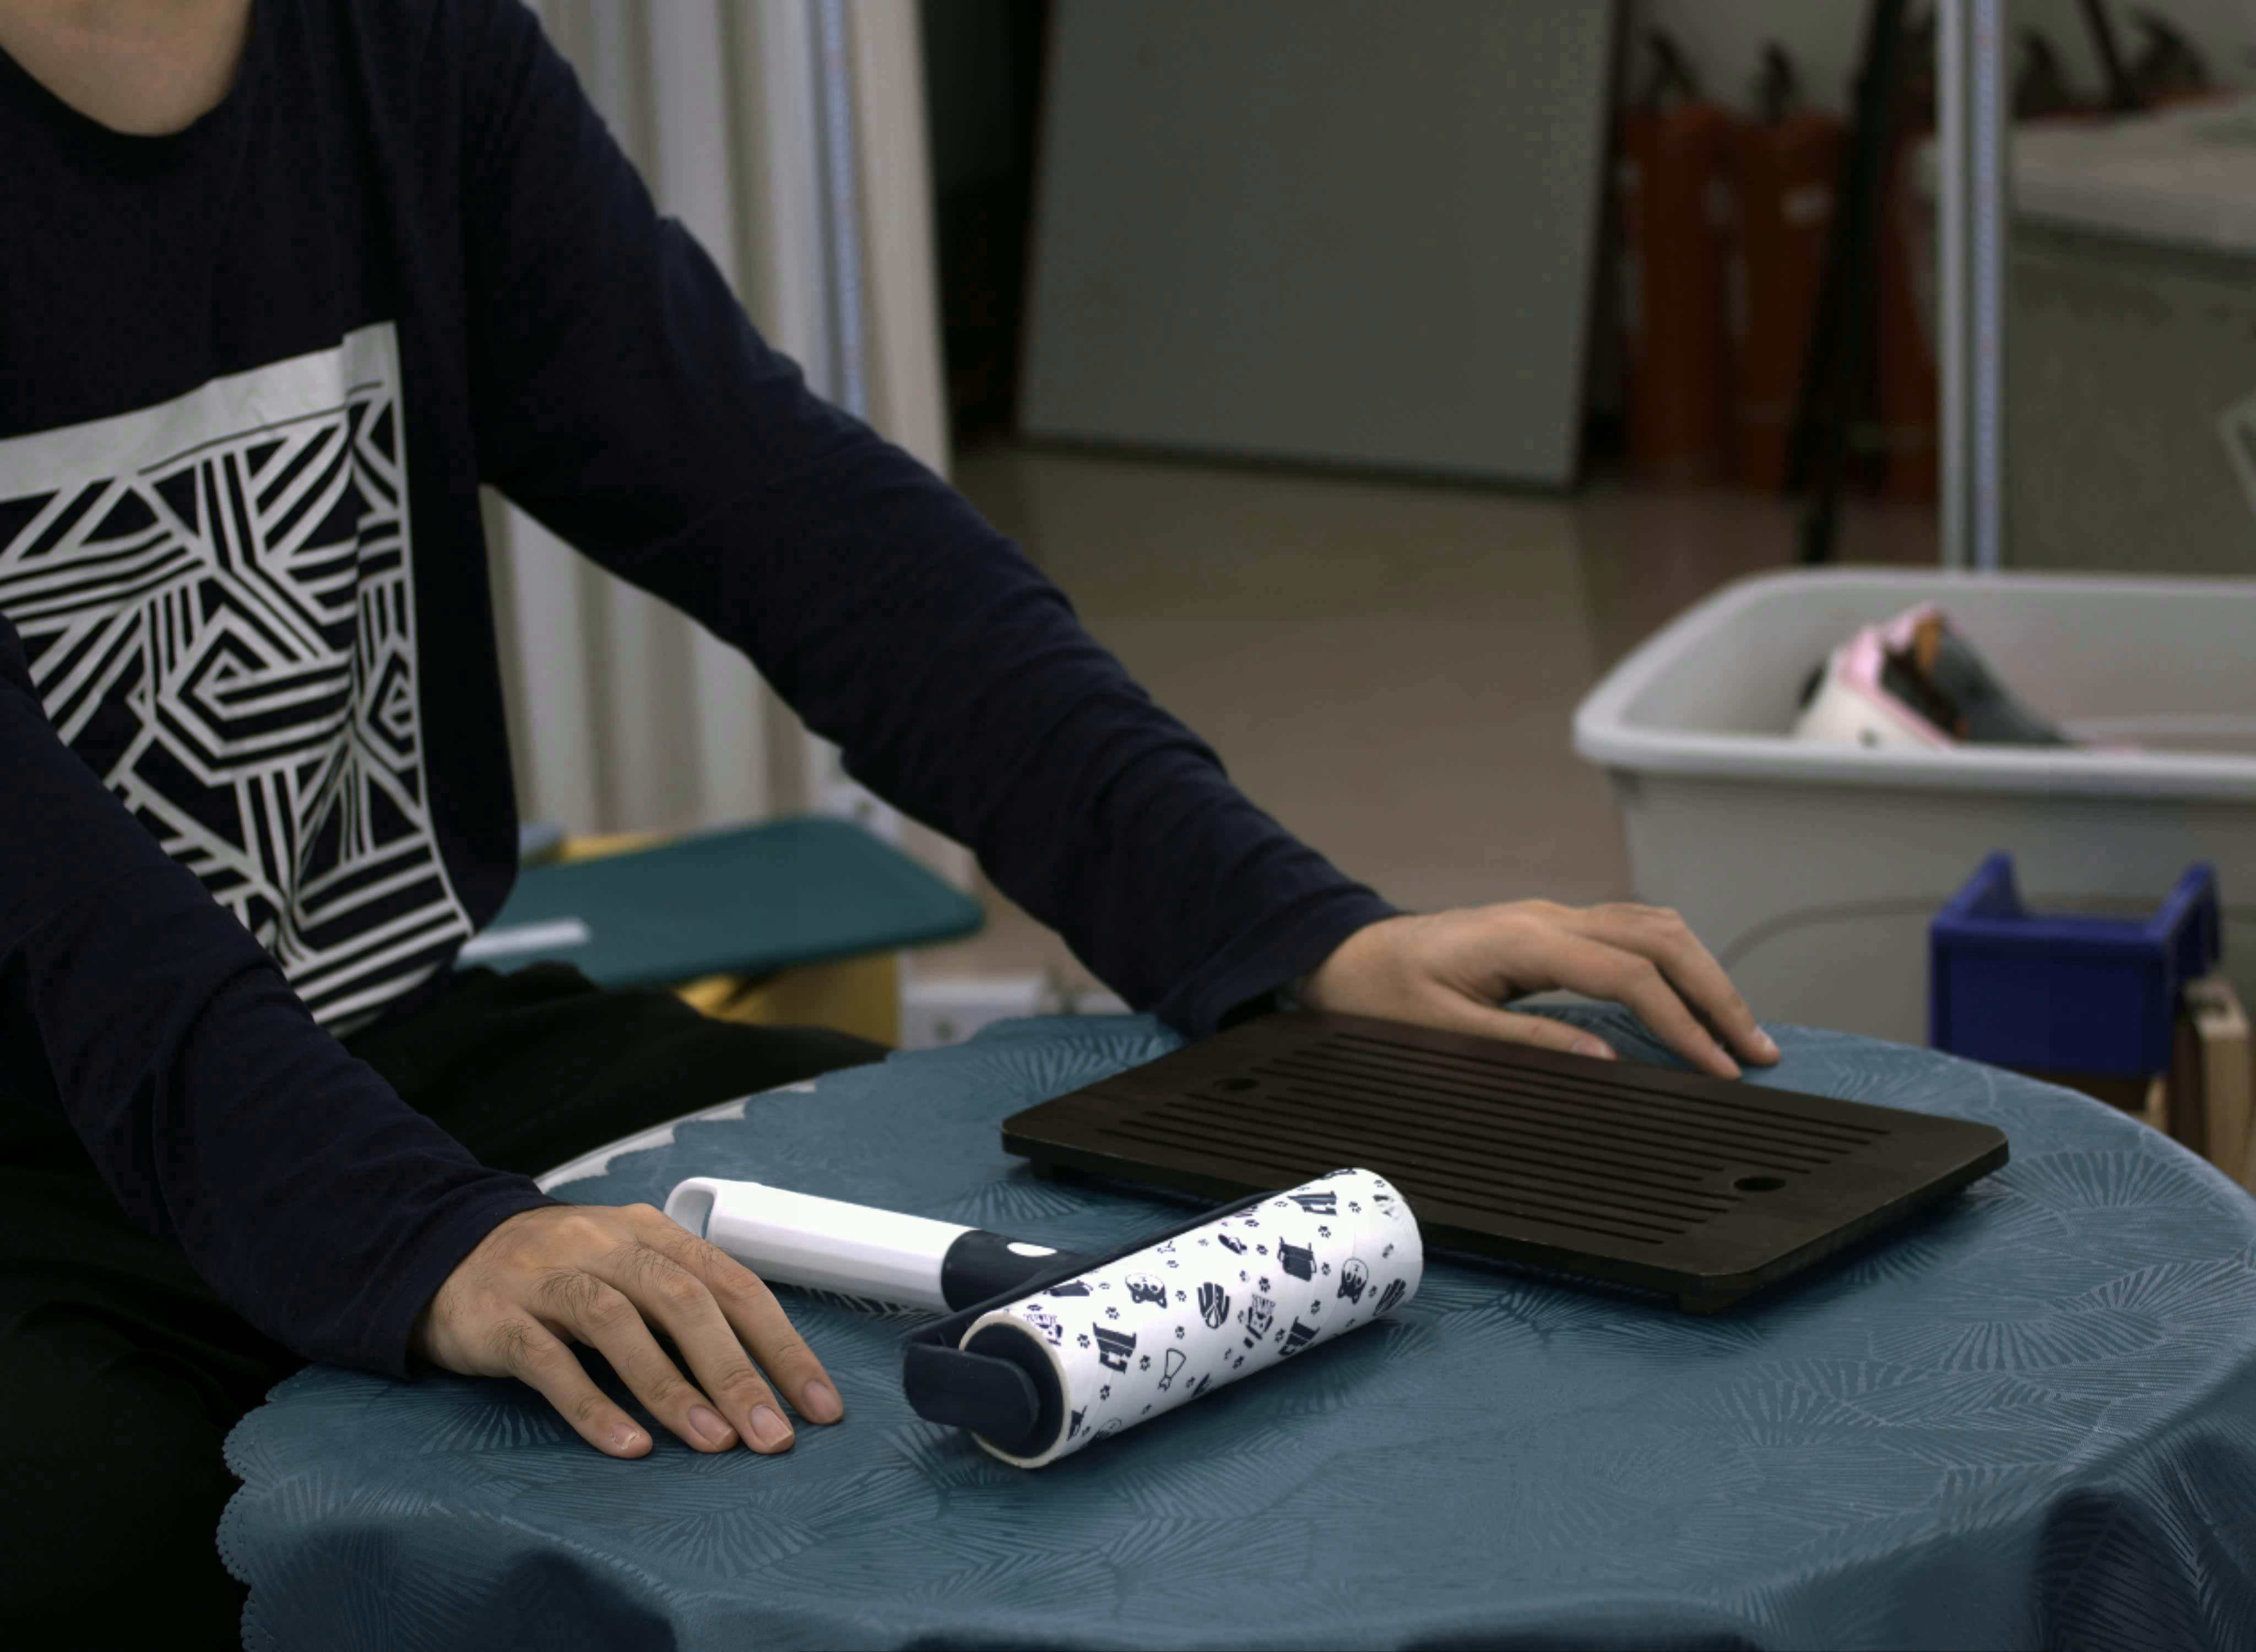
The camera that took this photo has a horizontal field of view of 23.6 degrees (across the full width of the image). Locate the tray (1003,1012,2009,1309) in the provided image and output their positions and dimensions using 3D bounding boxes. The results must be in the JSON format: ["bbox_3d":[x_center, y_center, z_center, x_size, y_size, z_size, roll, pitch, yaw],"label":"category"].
[{"bbox_3d":[0.120,0.107,1.761,0.308,0.019,0.167,7,18,42],"label":"tray"}]

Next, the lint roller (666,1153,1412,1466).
[{"bbox_3d":[-0.056,0.135,1.648,0.249,0.051,0.173,5,17,43],"label":"lint roller"}]
